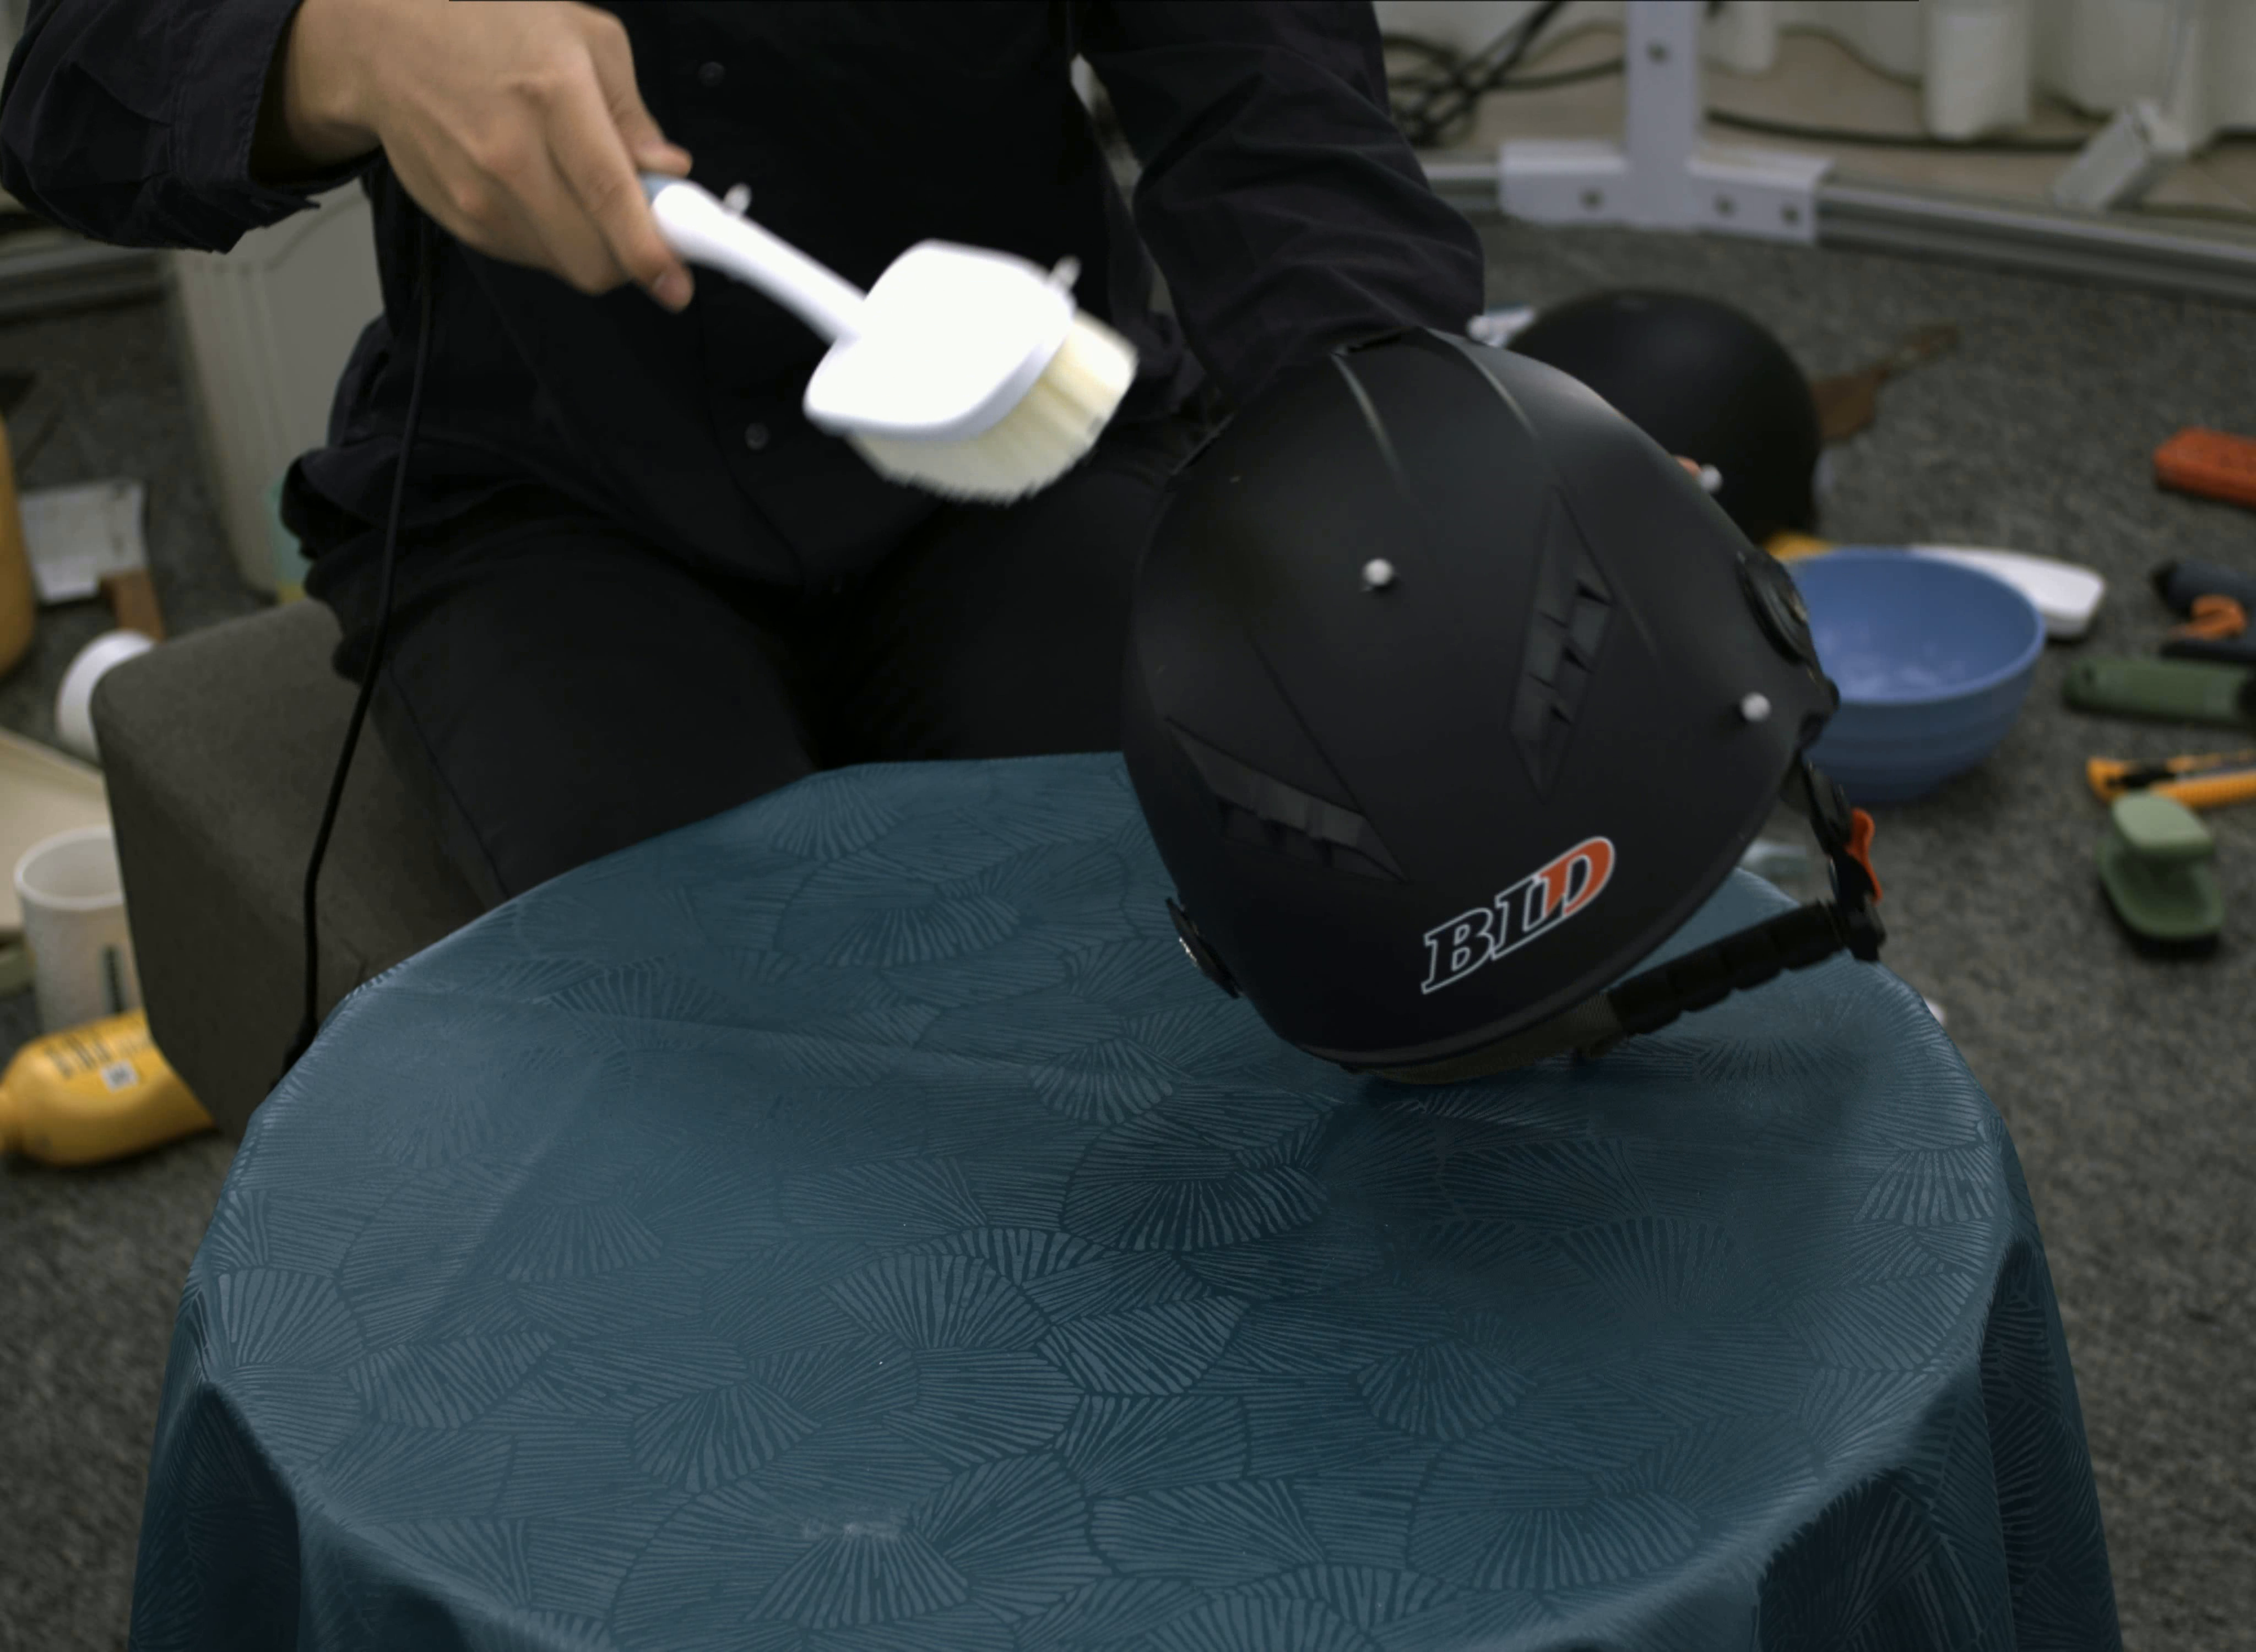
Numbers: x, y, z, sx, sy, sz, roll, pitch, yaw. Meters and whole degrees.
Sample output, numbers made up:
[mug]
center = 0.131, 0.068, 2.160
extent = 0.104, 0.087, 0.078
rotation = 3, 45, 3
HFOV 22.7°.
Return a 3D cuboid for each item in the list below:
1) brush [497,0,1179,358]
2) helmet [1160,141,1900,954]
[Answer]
[brush]
center = -0.089, -0.215, 1.844
extent = 0.084, 0.084, 0.325
rotation = -25, 32, -32
[helmet]
center = 0.112, -0.100, 1.827
extent = 0.245, 0.171, 0.281
rotation = -32, 29, 12
